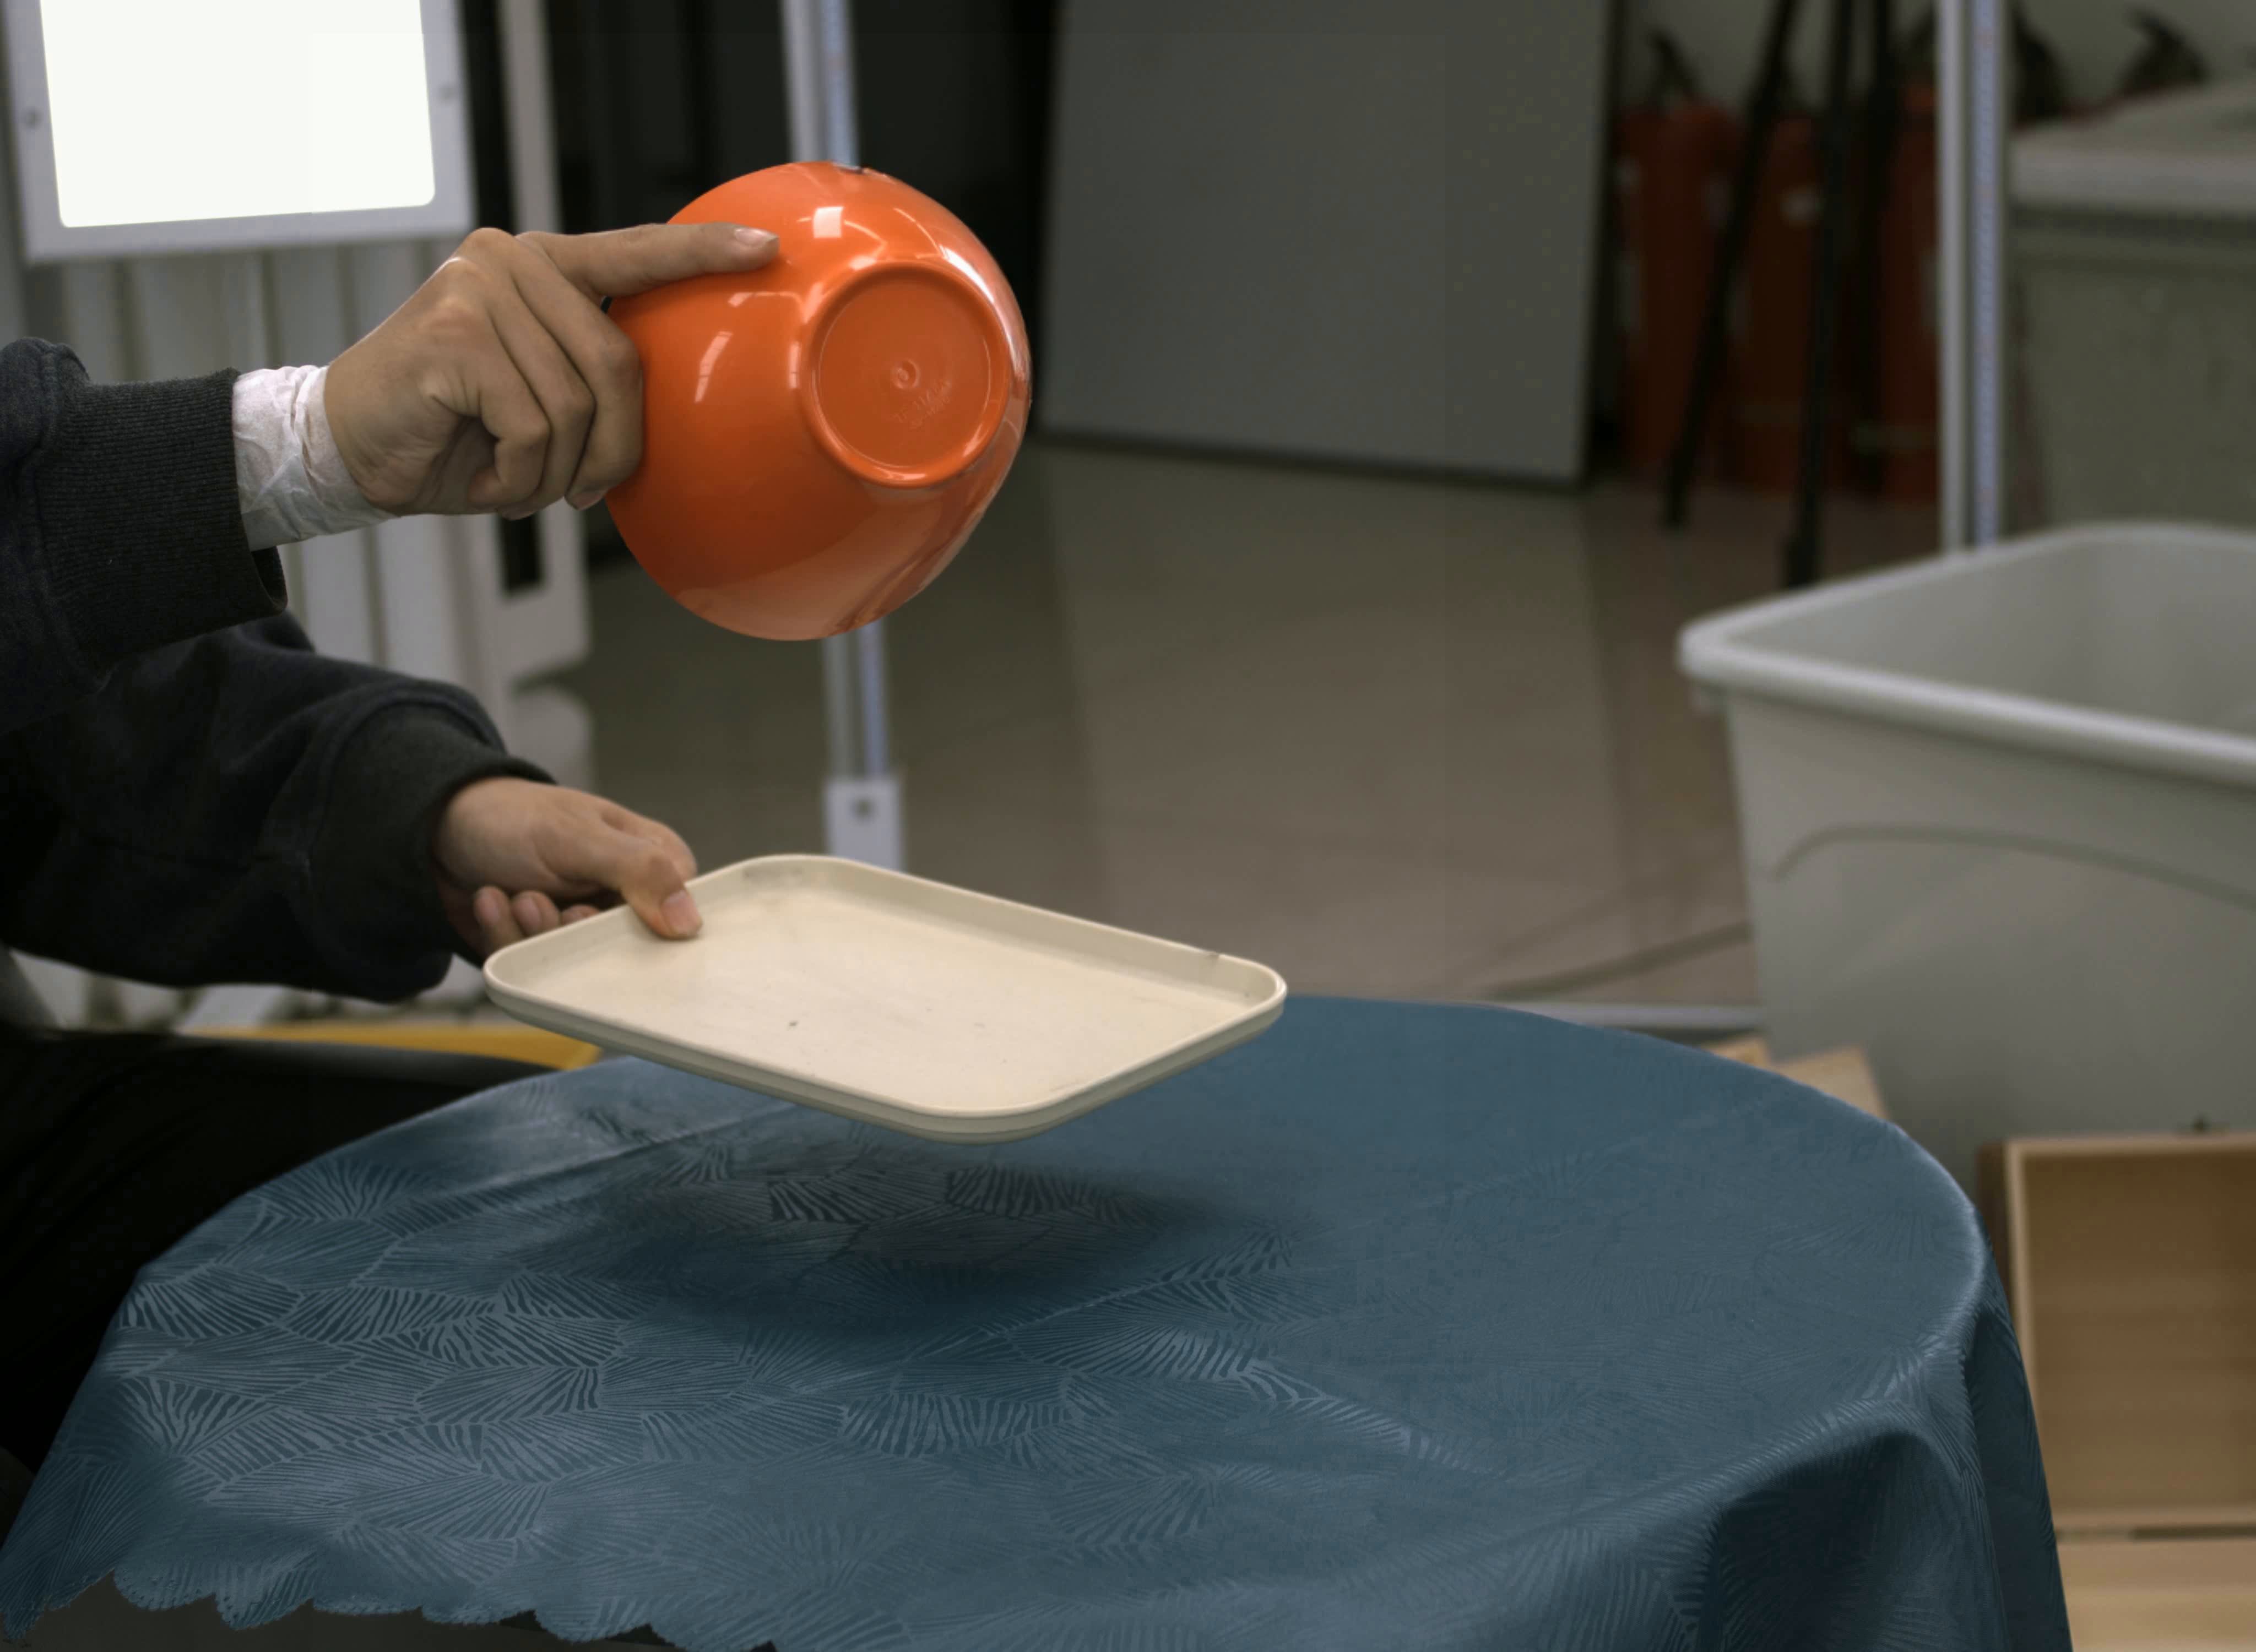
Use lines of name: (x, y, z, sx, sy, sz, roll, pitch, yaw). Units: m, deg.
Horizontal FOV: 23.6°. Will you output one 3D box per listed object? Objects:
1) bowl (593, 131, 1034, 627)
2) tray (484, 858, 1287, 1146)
bowl: (-0.078, -0.133, 1.604, 0.145, 0.150, 0.105, -9, 7, -24)
tray: (-0.079, 0.056, 1.757, 0.241, 0.017, 0.168, 13, 23, 39)
